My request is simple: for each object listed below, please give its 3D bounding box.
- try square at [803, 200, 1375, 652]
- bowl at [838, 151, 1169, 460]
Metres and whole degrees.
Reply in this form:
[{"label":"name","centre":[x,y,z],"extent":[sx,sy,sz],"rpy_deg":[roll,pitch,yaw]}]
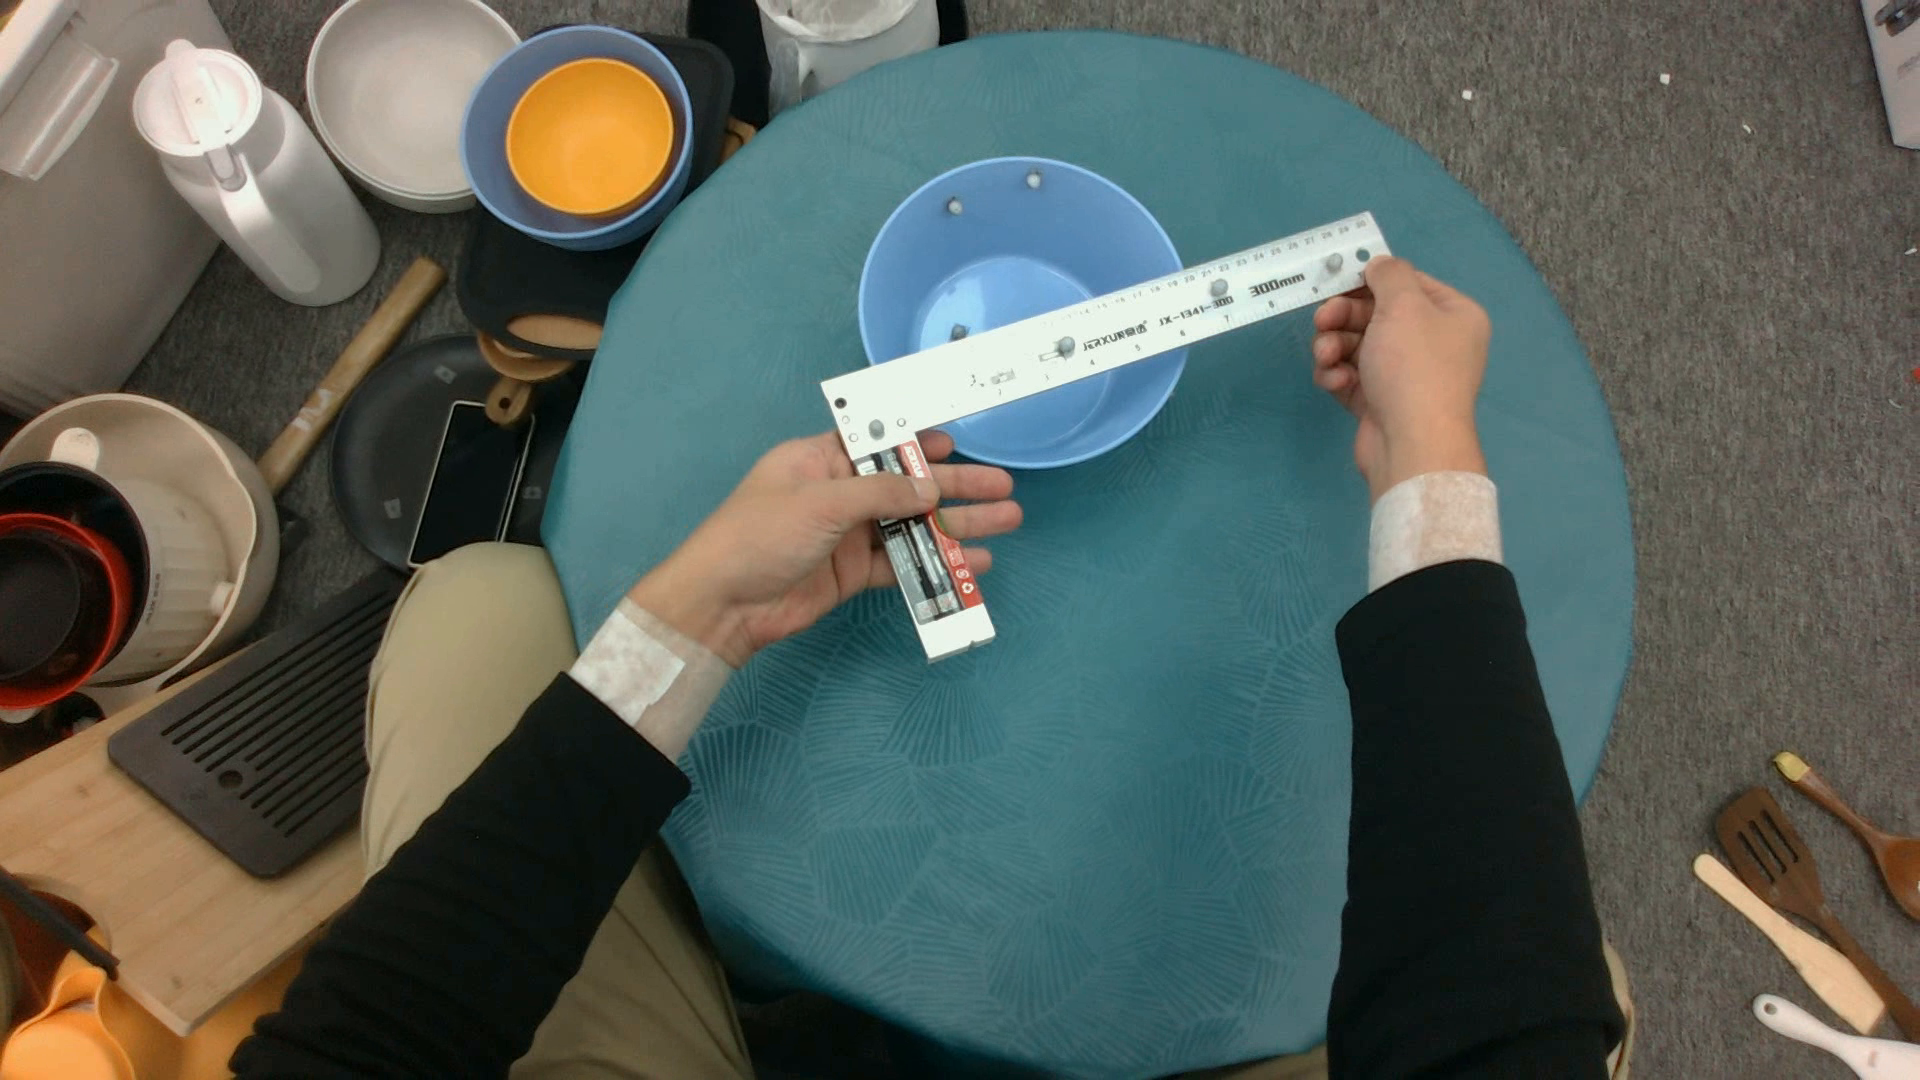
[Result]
[{"label":"try square","centre":[0.090,-0.065,0.693],"extent":[0.313,0.016,0.152],"rpy_deg":[-19,77,-12]},{"label":"bowl","centre":[0.021,-0.117,0.750],"extent":[0.176,0.070,0.176],"rpy_deg":[2,75,-6]}]
